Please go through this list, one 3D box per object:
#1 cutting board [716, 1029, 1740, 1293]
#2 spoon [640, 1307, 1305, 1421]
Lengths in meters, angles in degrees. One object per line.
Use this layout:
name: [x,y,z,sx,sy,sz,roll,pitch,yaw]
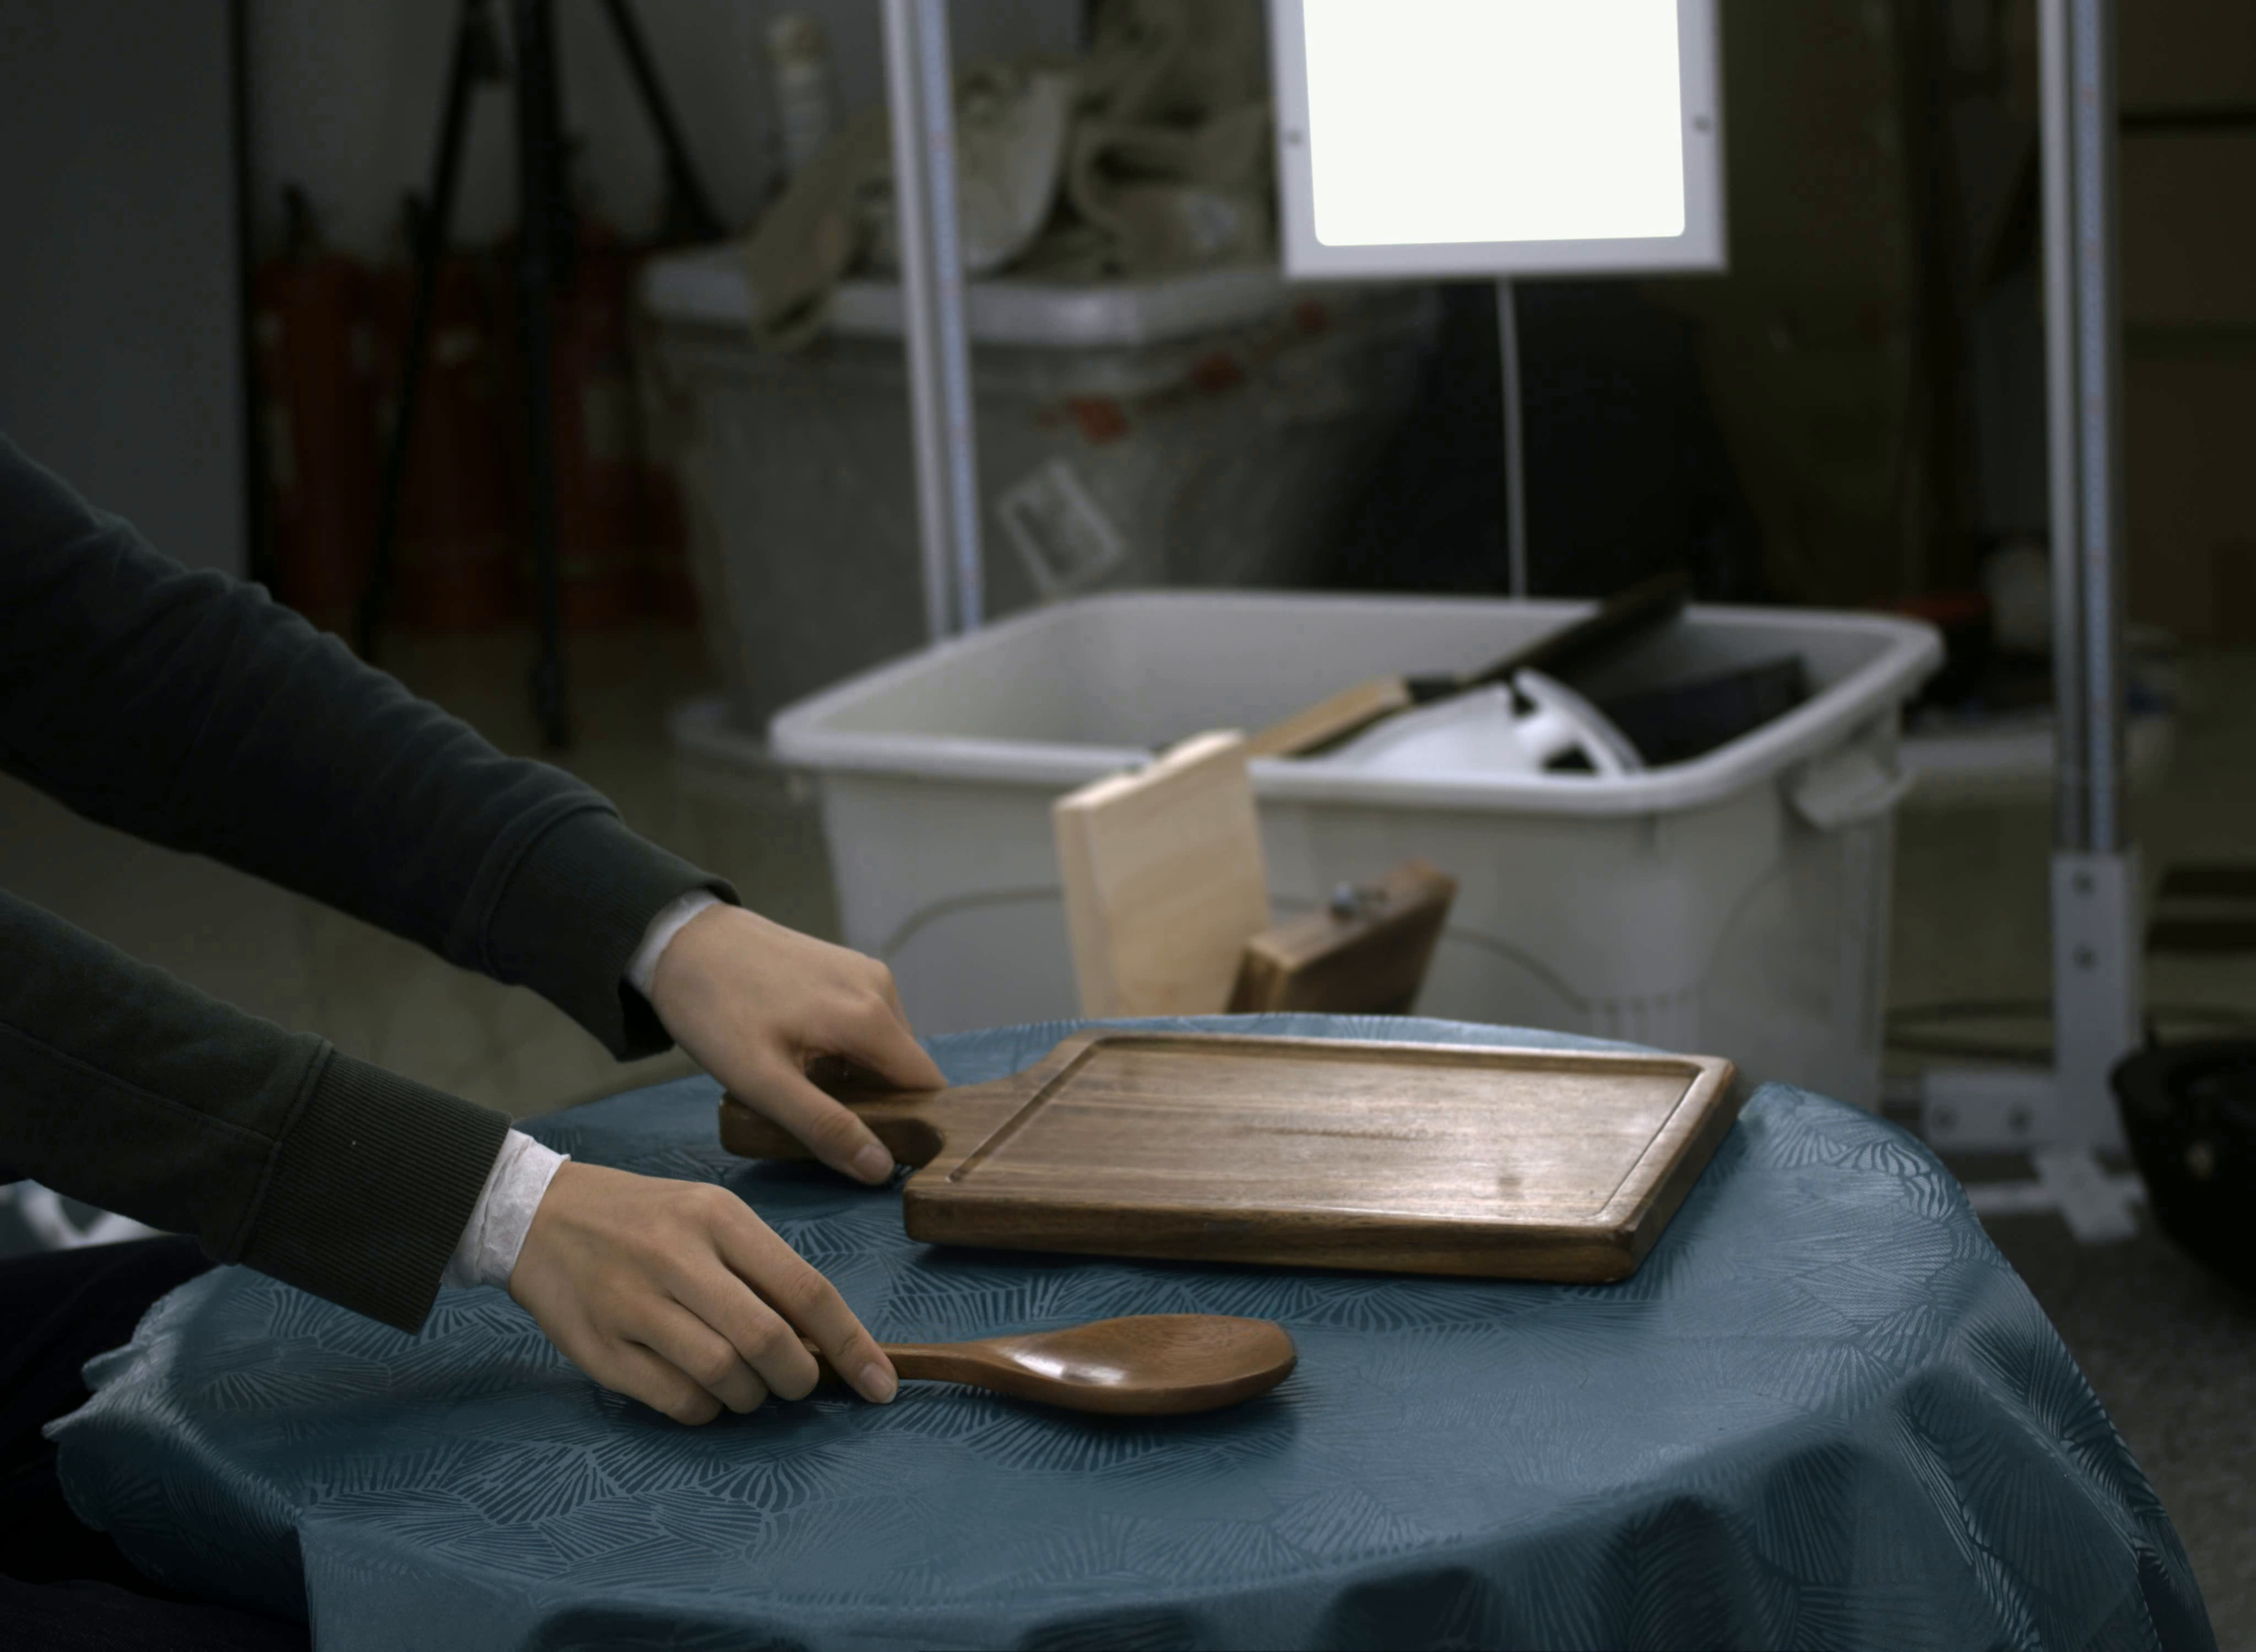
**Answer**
cutting board: [0.024,0.110,1.900,0.356,0.023,0.198,2,16,19]
spoon: [-0.049,0.167,1.713,0.218,0.017,0.074,1,16,19]
